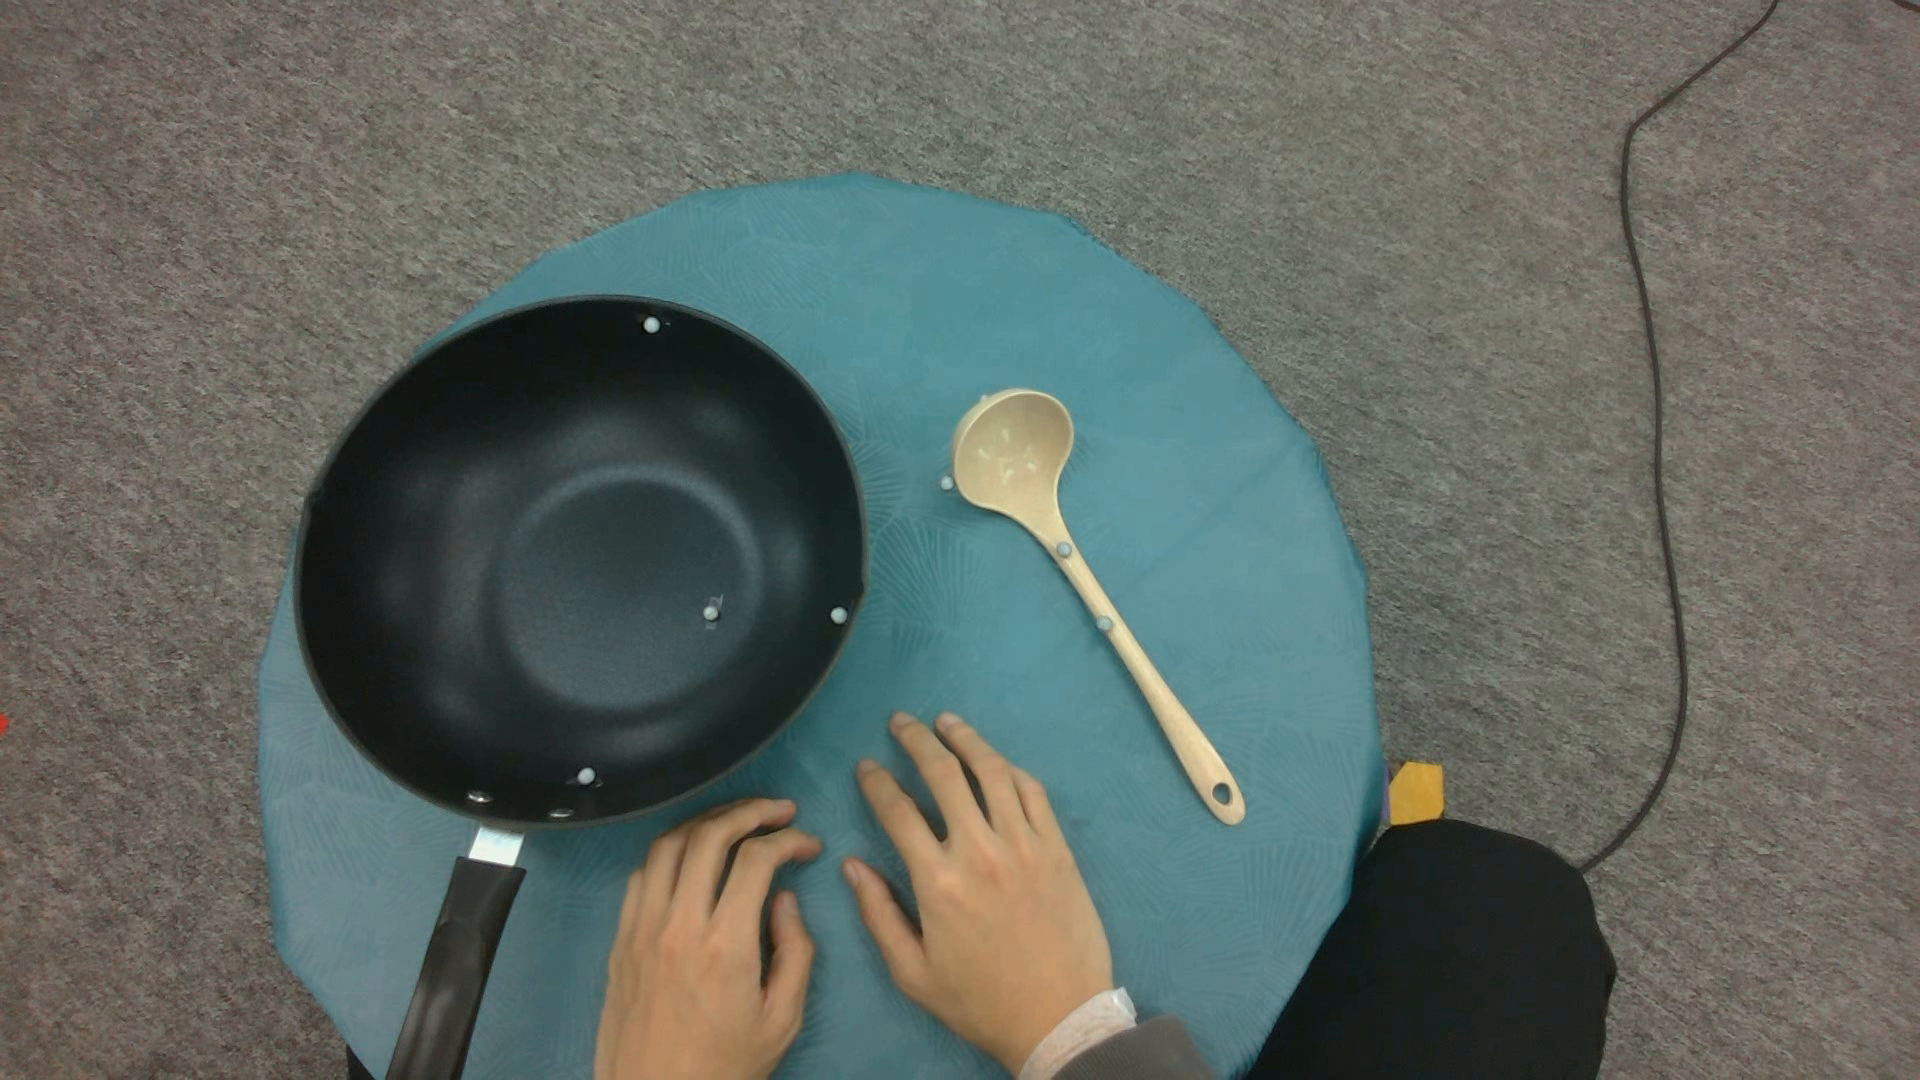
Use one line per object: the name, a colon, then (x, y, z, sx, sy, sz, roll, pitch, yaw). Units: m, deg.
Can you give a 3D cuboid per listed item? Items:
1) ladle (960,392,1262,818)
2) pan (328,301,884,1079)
ladle: (0.087, 0.030, 0.724, 0.072, 0.072, 0.255, -30, 71, -14)
pan: (-0.197, 0.101, 0.704, 0.288, 0.086, 0.464, 10, 72, 5)
